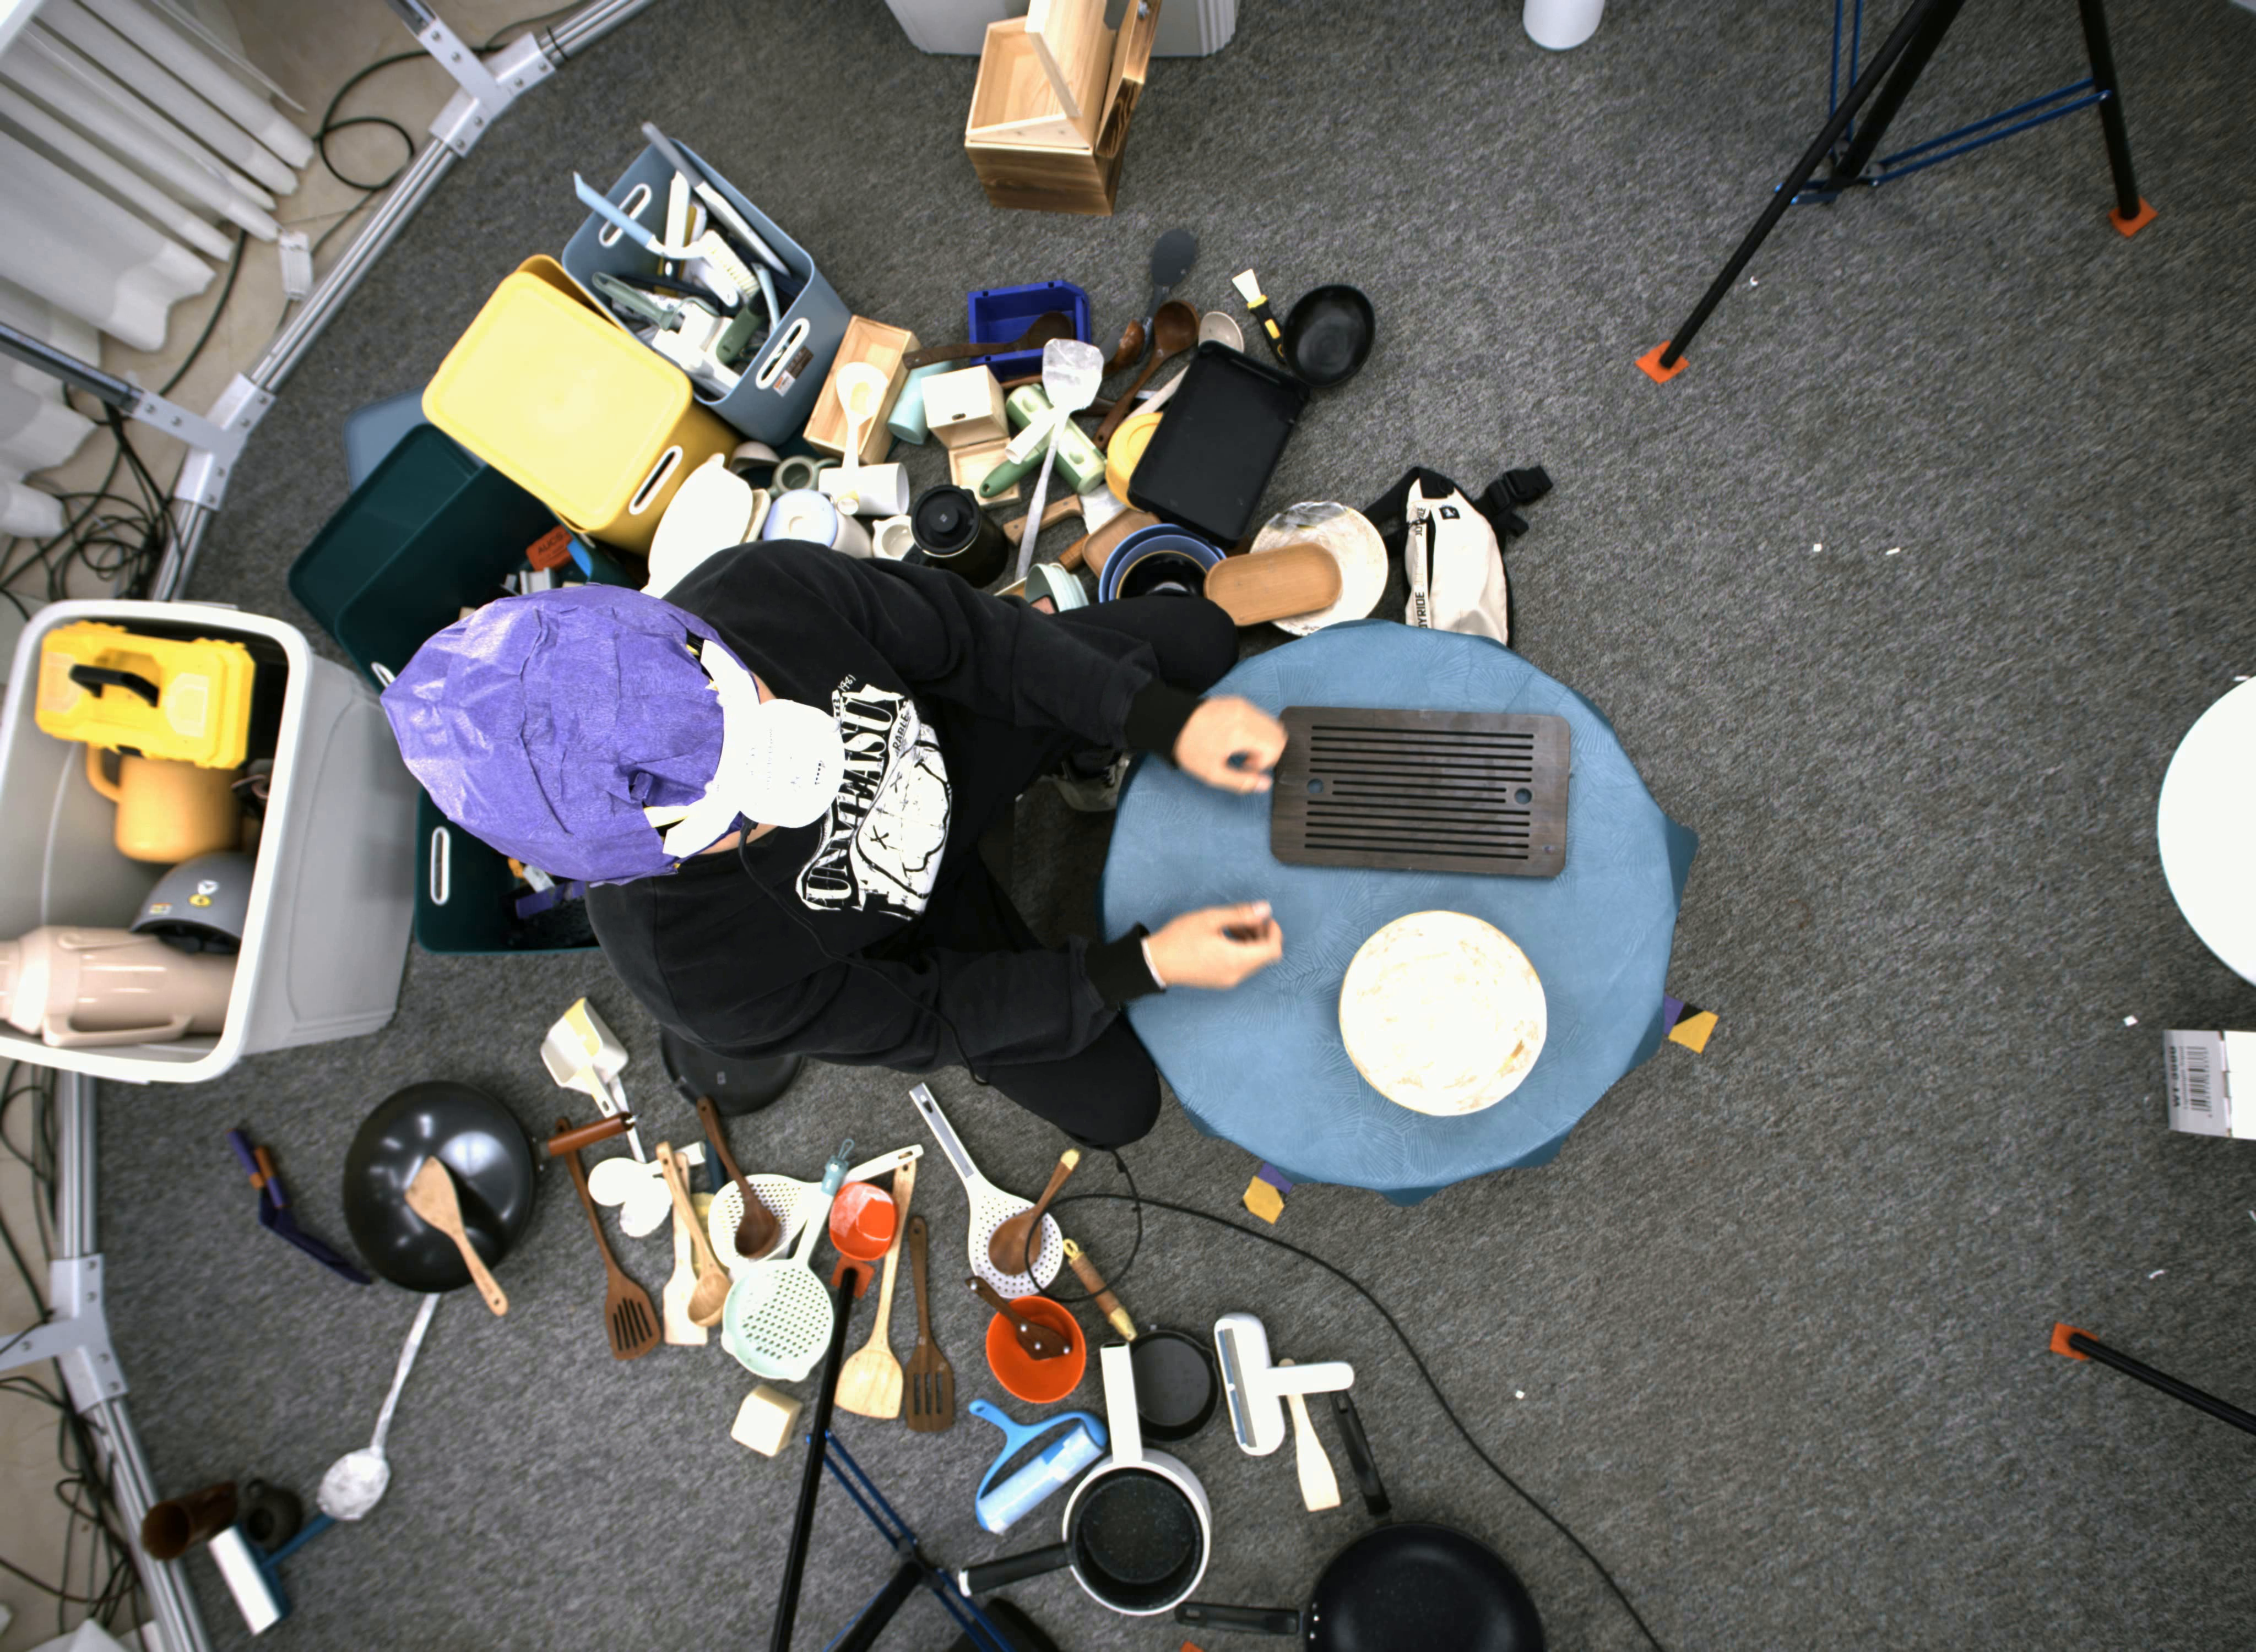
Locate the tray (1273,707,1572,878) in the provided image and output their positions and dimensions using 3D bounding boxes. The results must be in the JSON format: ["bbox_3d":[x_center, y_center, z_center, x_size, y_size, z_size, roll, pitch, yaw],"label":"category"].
[{"bbox_3d":[0.310,-0.039,1.456,0.307,0.018,0.169,3,87,11],"label":"tray"}]

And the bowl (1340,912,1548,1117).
[{"bbox_3d":[0.316,0.184,1.402,0.215,0.094,0.214,-1,86,11],"label":"bowl"}]
